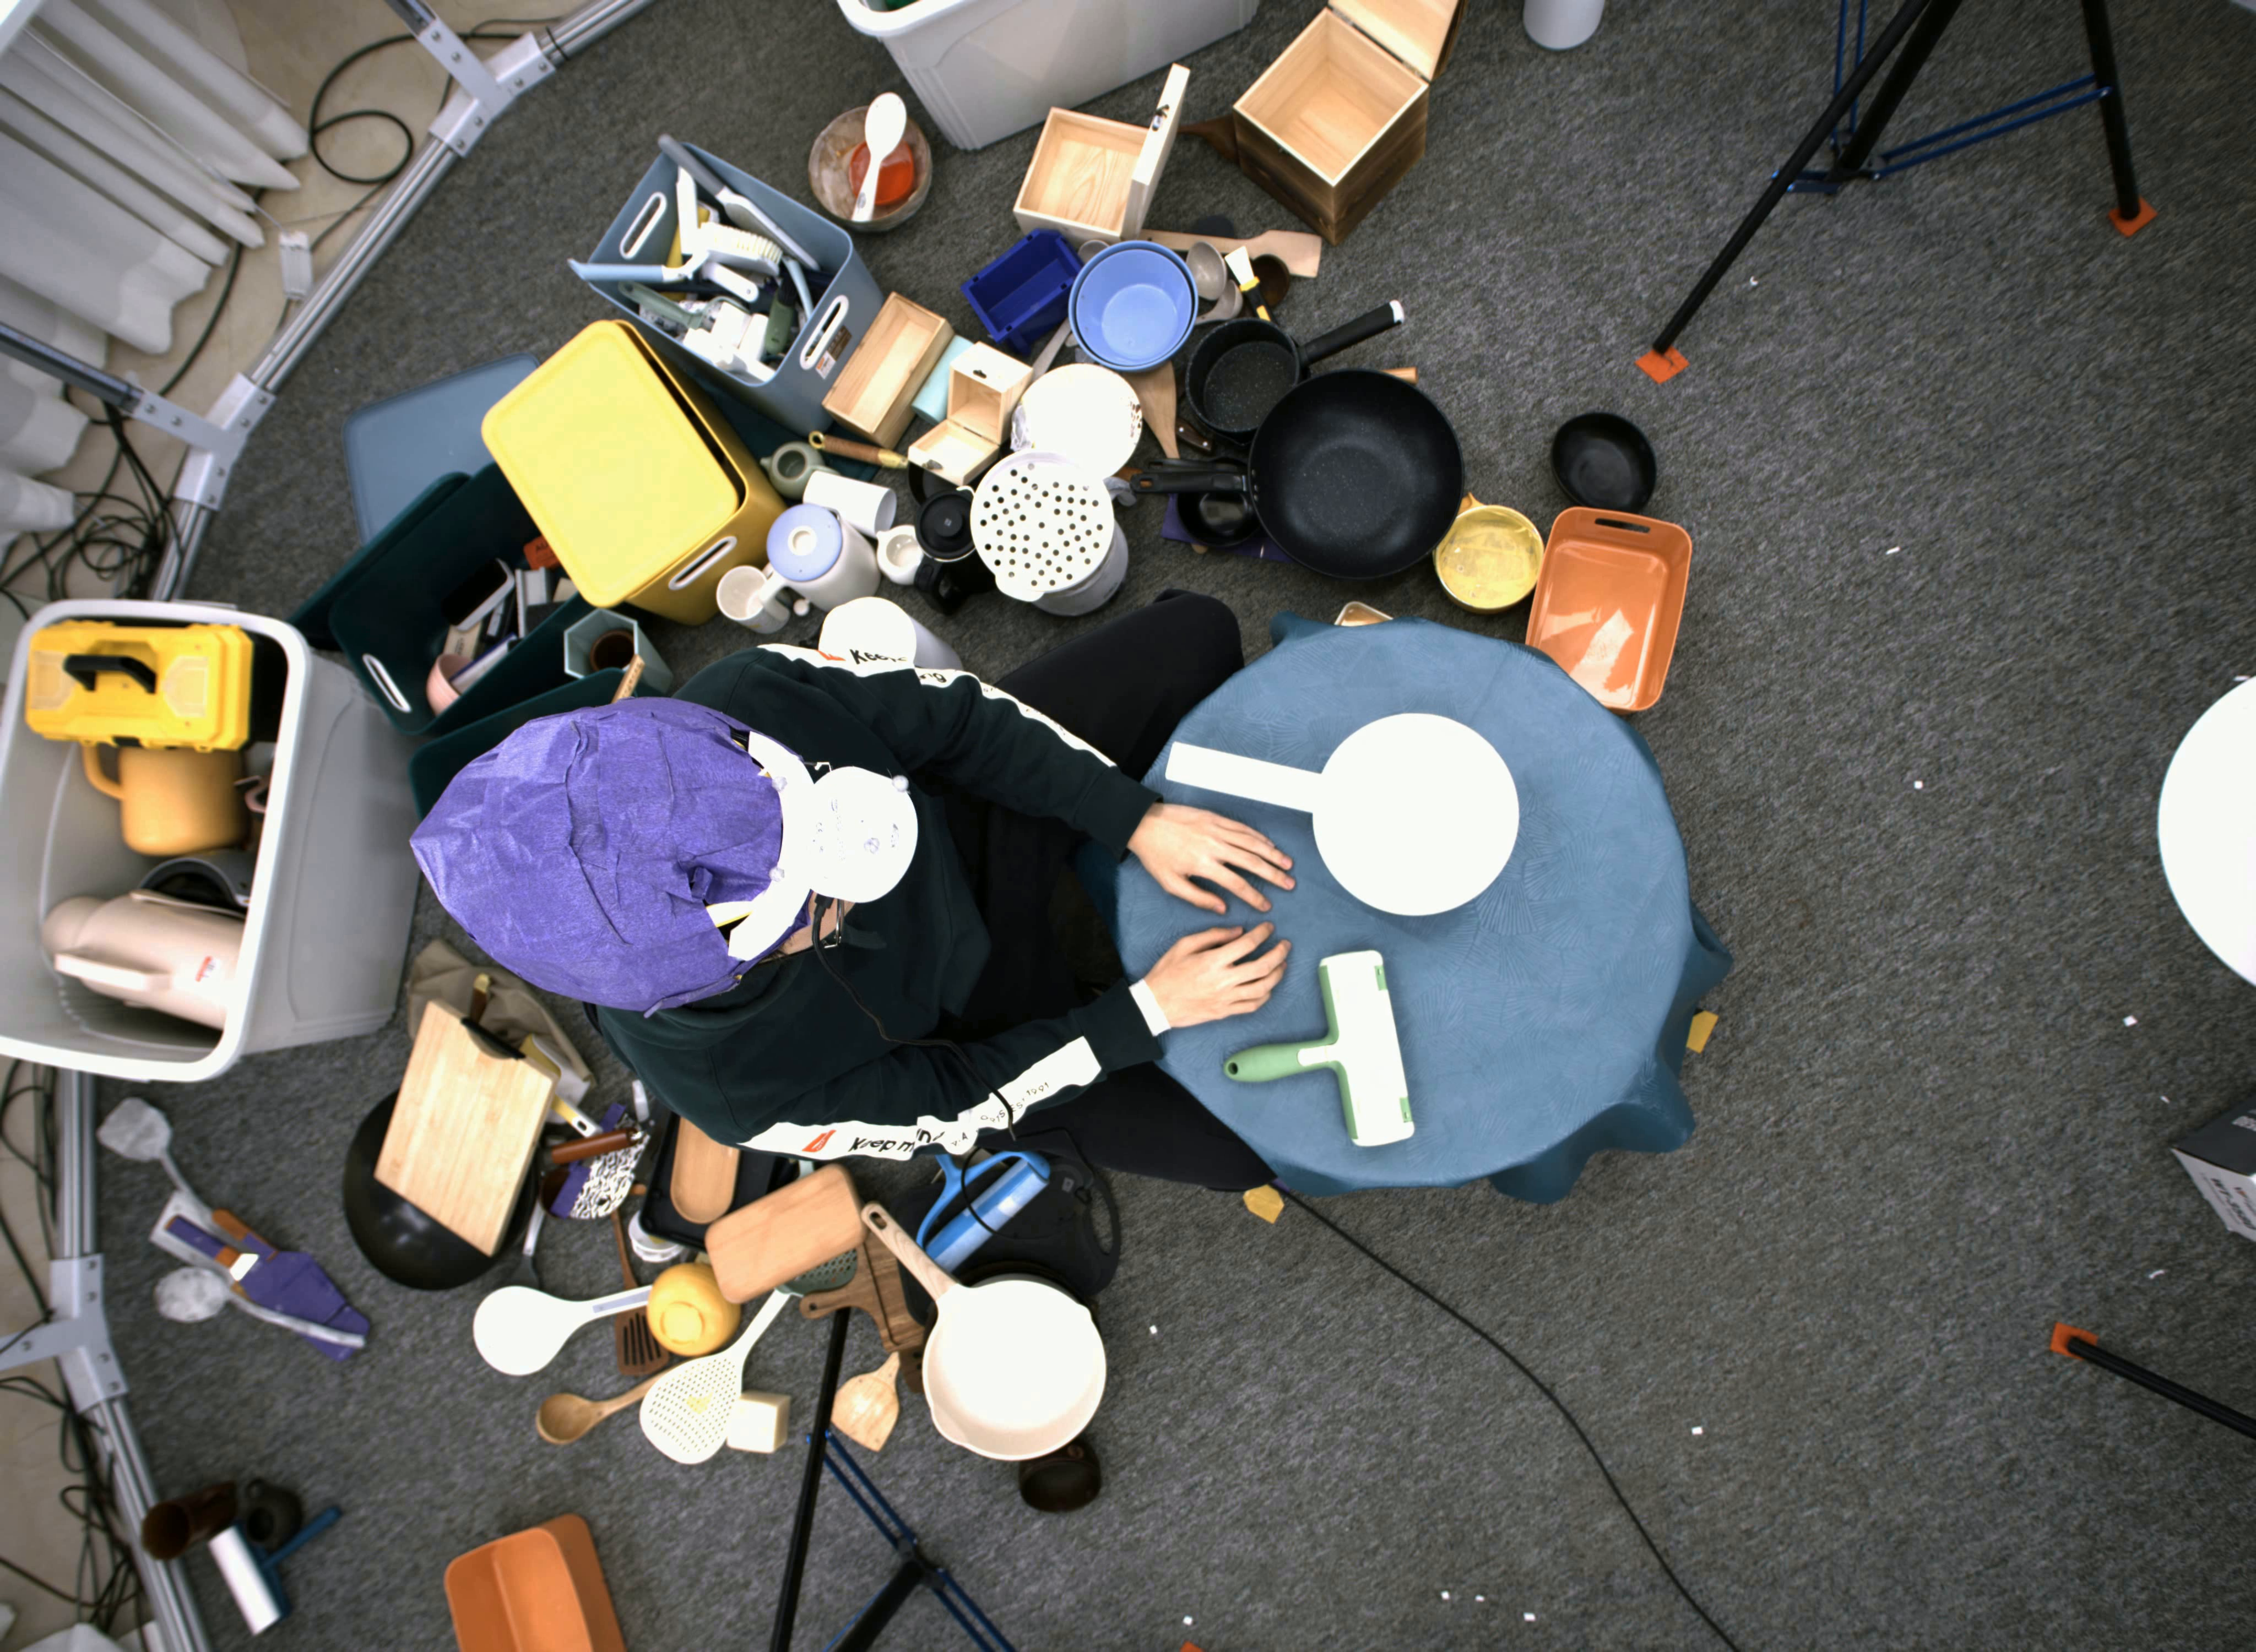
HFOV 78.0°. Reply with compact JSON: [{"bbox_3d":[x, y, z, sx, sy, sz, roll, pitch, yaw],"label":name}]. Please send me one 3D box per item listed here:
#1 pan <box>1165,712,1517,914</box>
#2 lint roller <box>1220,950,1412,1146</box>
[{"bbox_3d":[0.216,-0.029,1.420,0.355,0.102,0.201,14,89,11],"label":"pan"},{"bbox_3d":[0.185,0.236,1.424,0.184,0.082,0.197,-10,85,4],"label":"lint roller"}]
